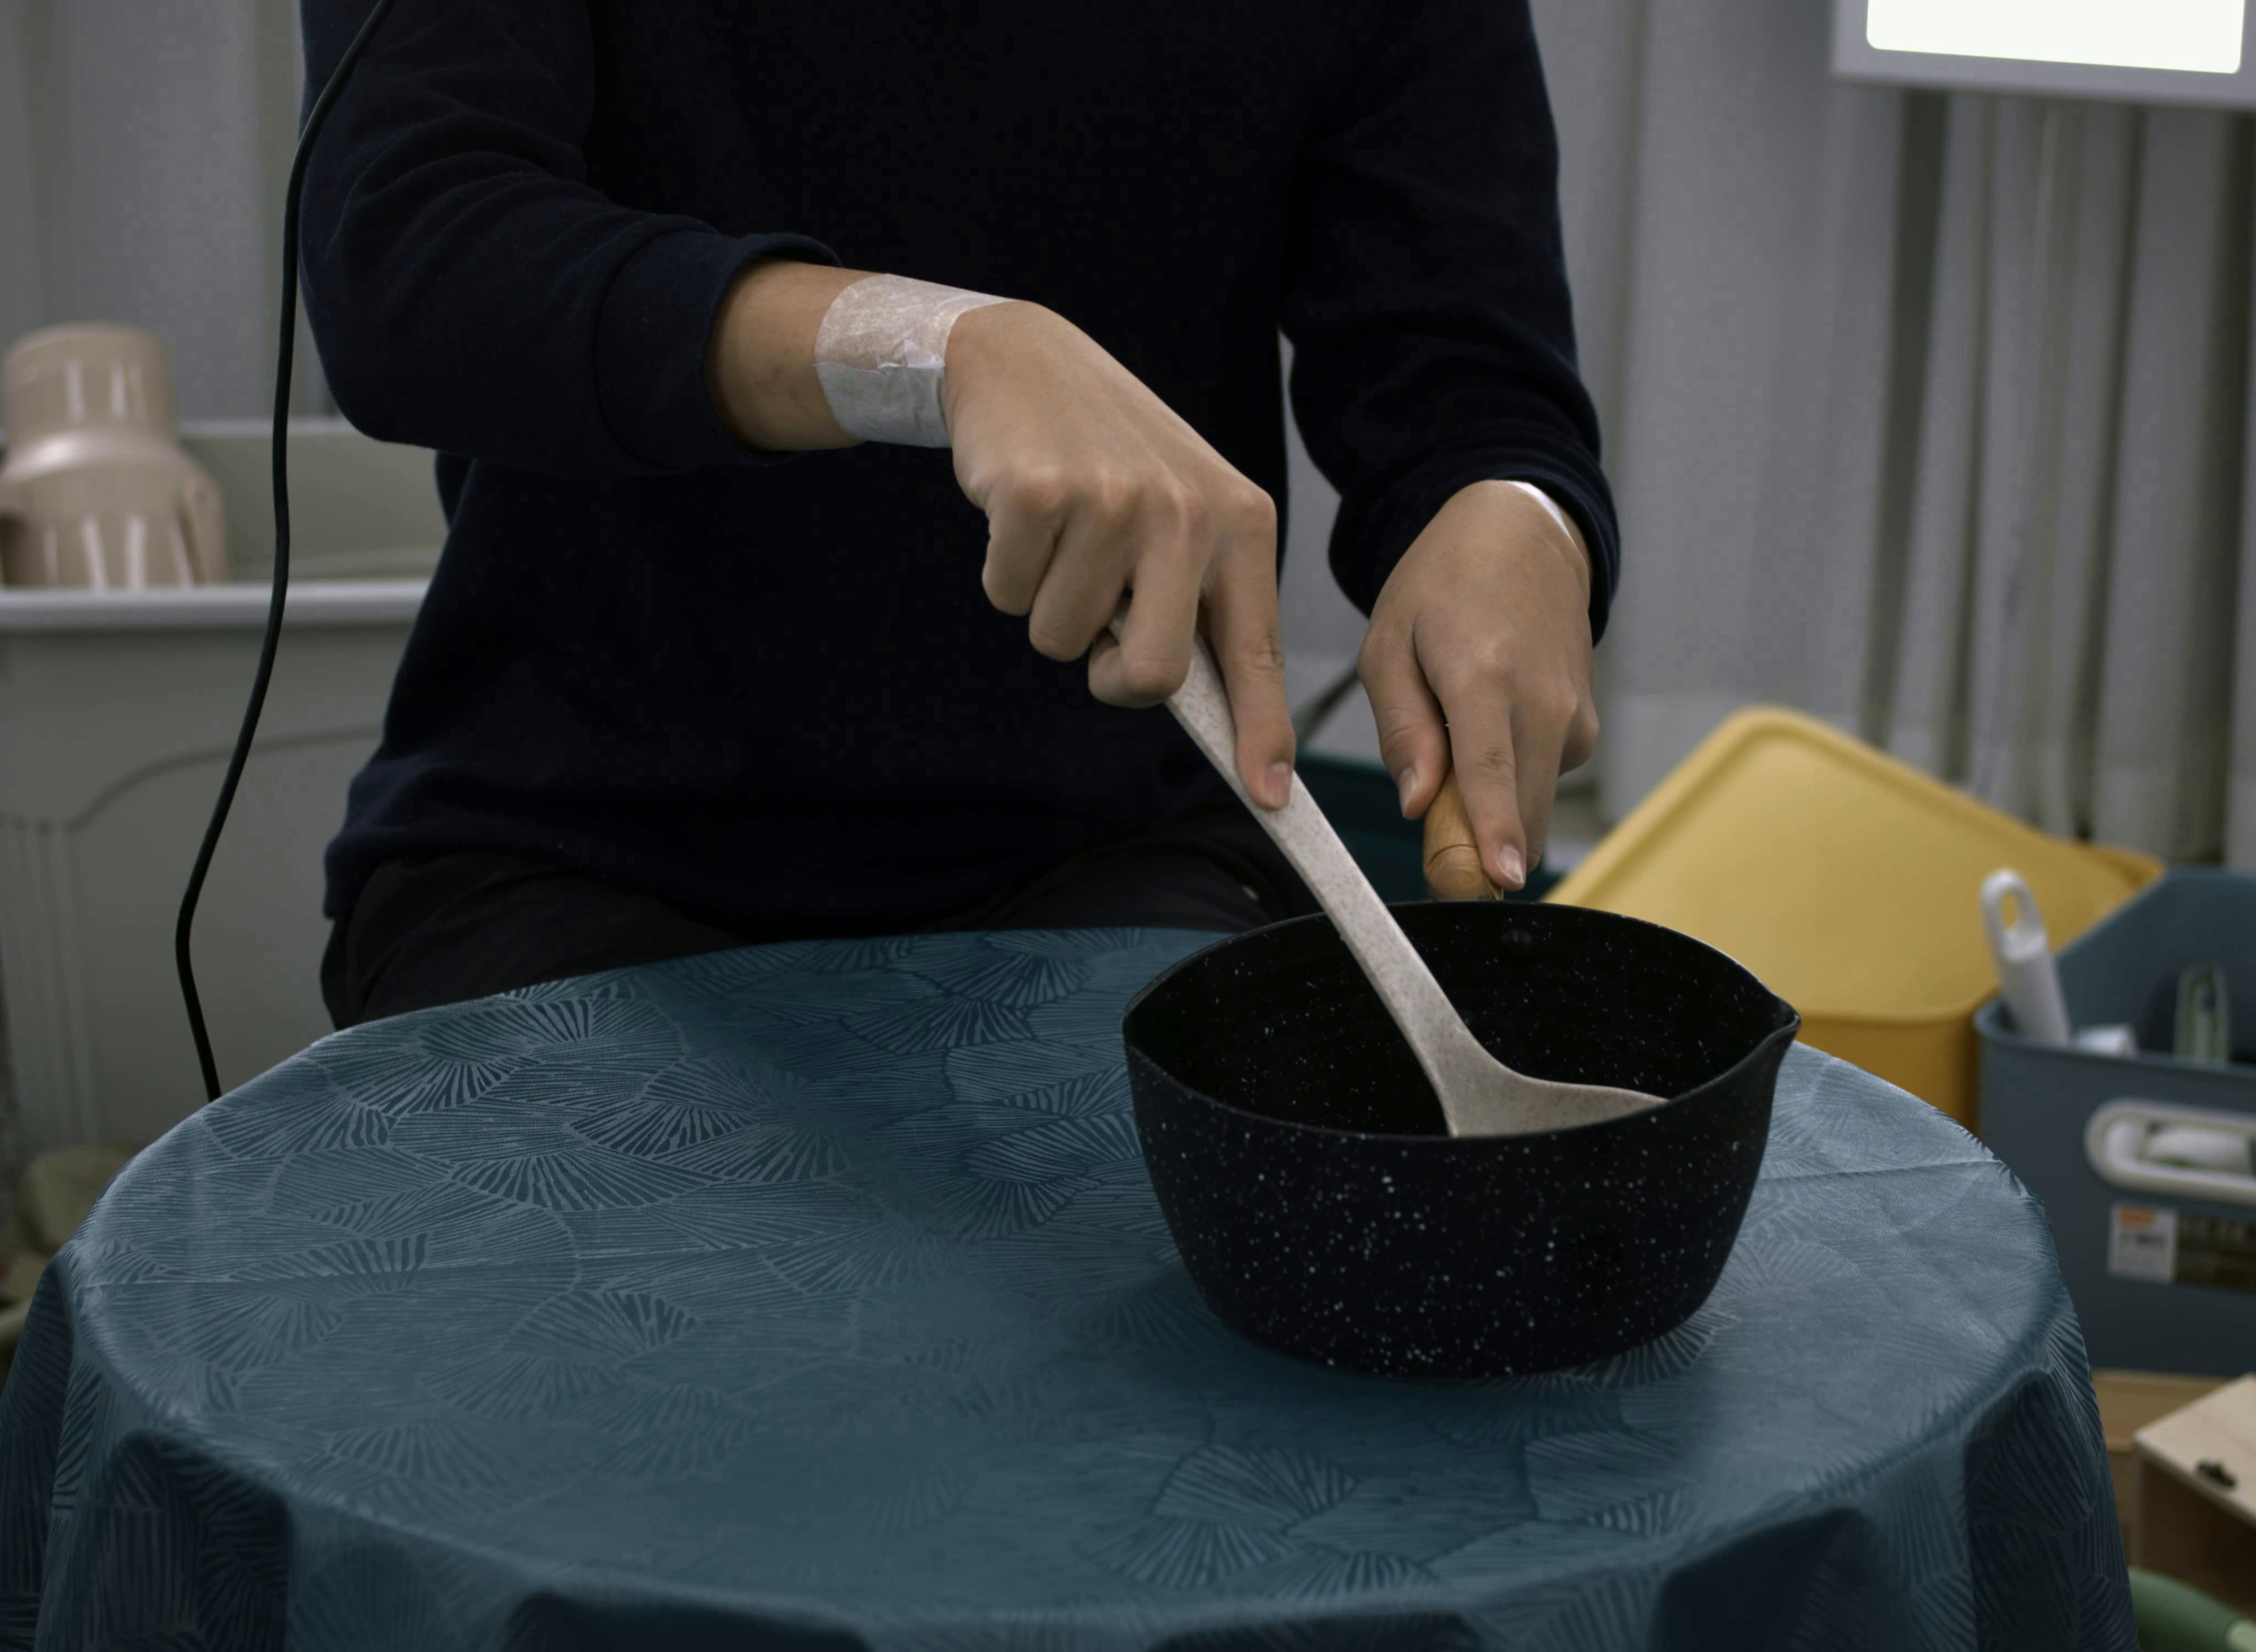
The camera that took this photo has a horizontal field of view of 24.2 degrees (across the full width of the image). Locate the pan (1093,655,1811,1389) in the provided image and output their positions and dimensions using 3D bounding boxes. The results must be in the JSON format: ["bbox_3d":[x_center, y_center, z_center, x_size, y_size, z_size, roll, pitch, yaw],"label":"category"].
[{"bbox_3d":[0.098,0.054,1.592,0.206,0.109,0.341,-2,21,4],"label":"pan"}]

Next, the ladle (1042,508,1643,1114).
[{"bbox_3d":[0.073,0.011,1.516,0.089,0.275,0.069,-37,5,-38],"label":"ladle"}]
